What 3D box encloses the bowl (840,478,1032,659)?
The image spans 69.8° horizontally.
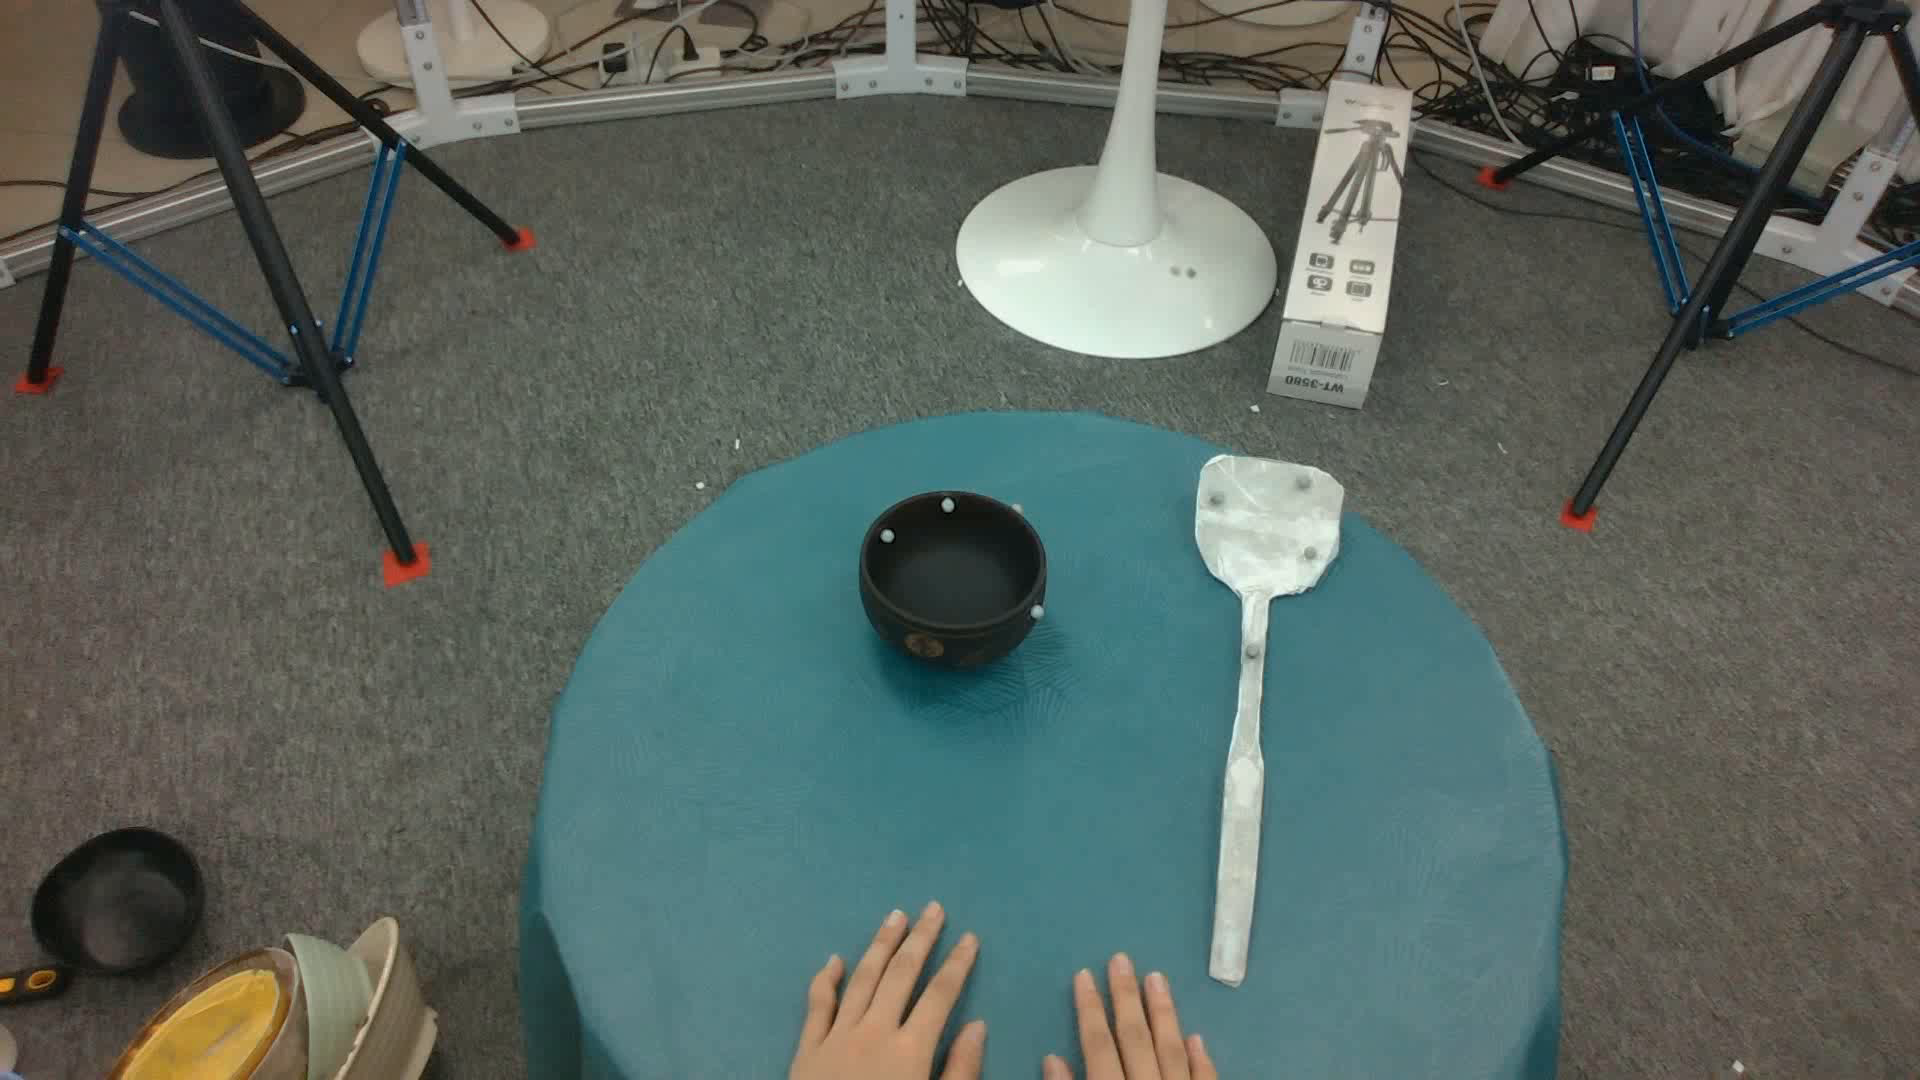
[{"bbox_3d":[-0.015,0.025,0.858,0.118,0.069,0.118,1,48,-1],"label":"bowl"}]

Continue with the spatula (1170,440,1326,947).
[{"bbox_3d":[0.166,0.078,0.846,0.098,0.044,0.367,13,47,5],"label":"spatula"}]
